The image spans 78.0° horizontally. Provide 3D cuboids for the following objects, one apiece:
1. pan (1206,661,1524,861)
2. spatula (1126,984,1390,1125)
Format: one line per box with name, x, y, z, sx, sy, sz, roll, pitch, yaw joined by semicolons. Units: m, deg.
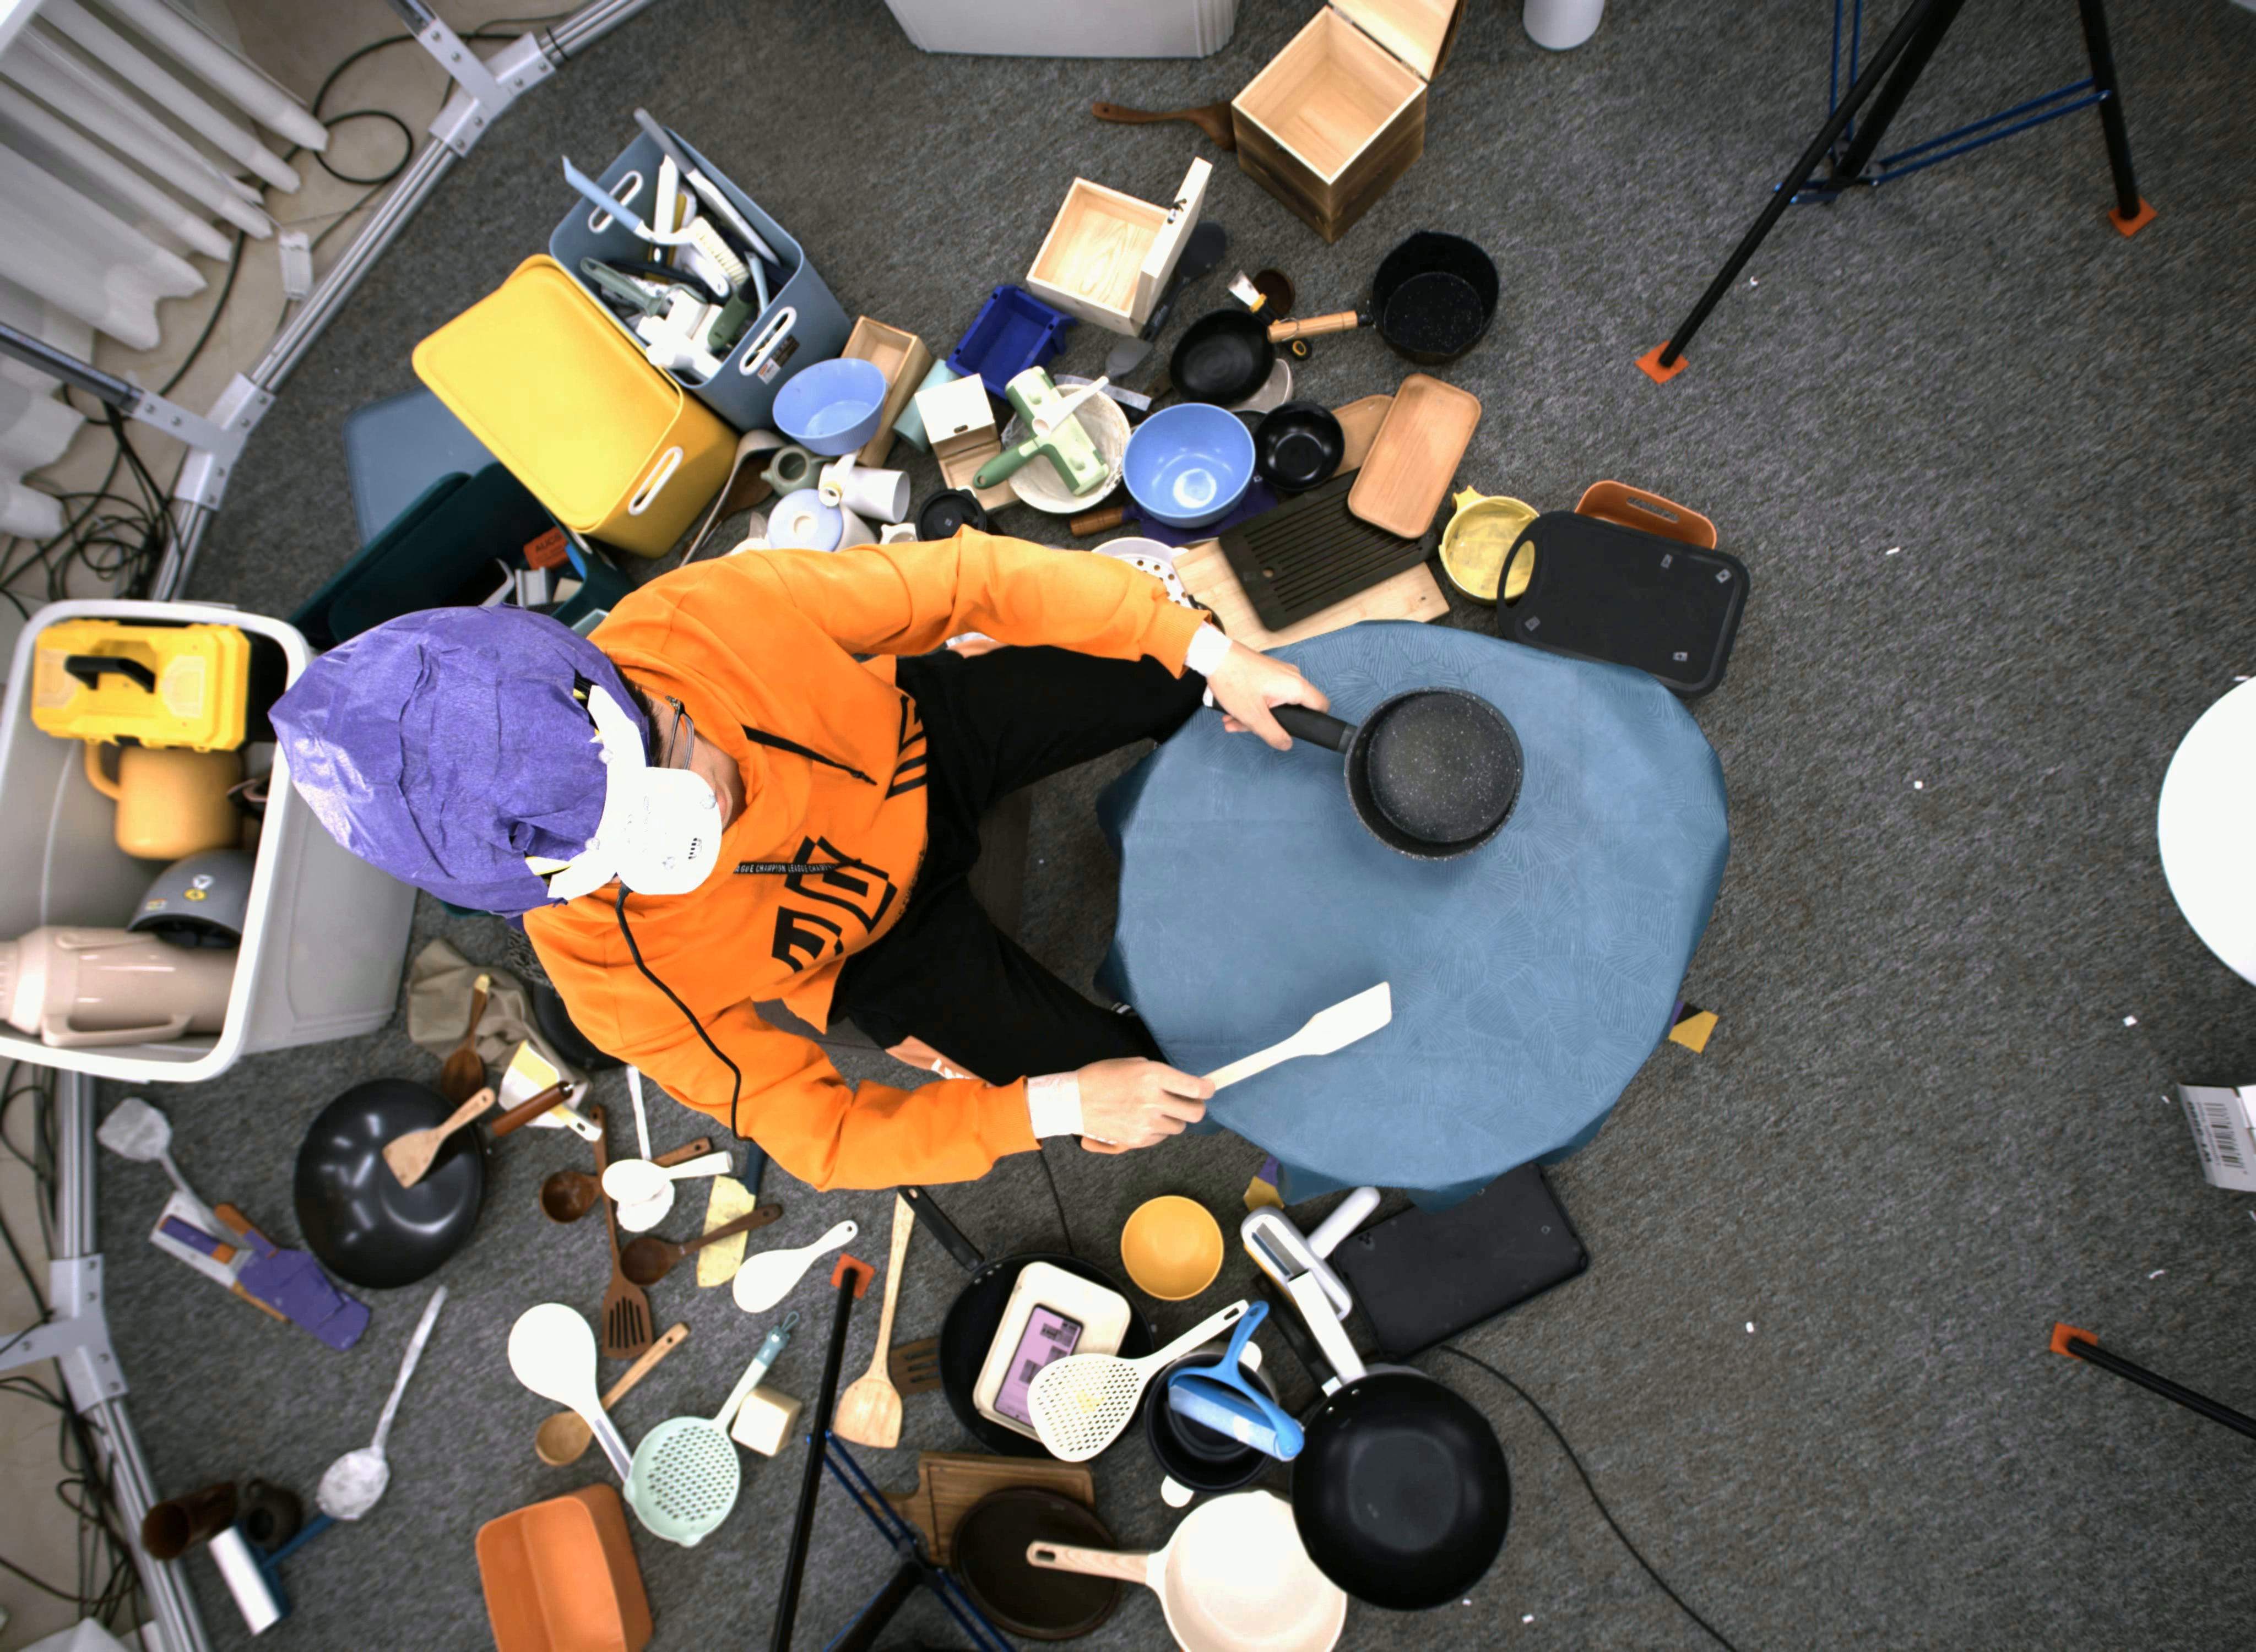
pan;0.237;-0.089;1.384;0.328;0.085;0.174;25;108;14
spatula;0.132;0.234;1.394;0.292;0.074;0.010;-23;49;-4
